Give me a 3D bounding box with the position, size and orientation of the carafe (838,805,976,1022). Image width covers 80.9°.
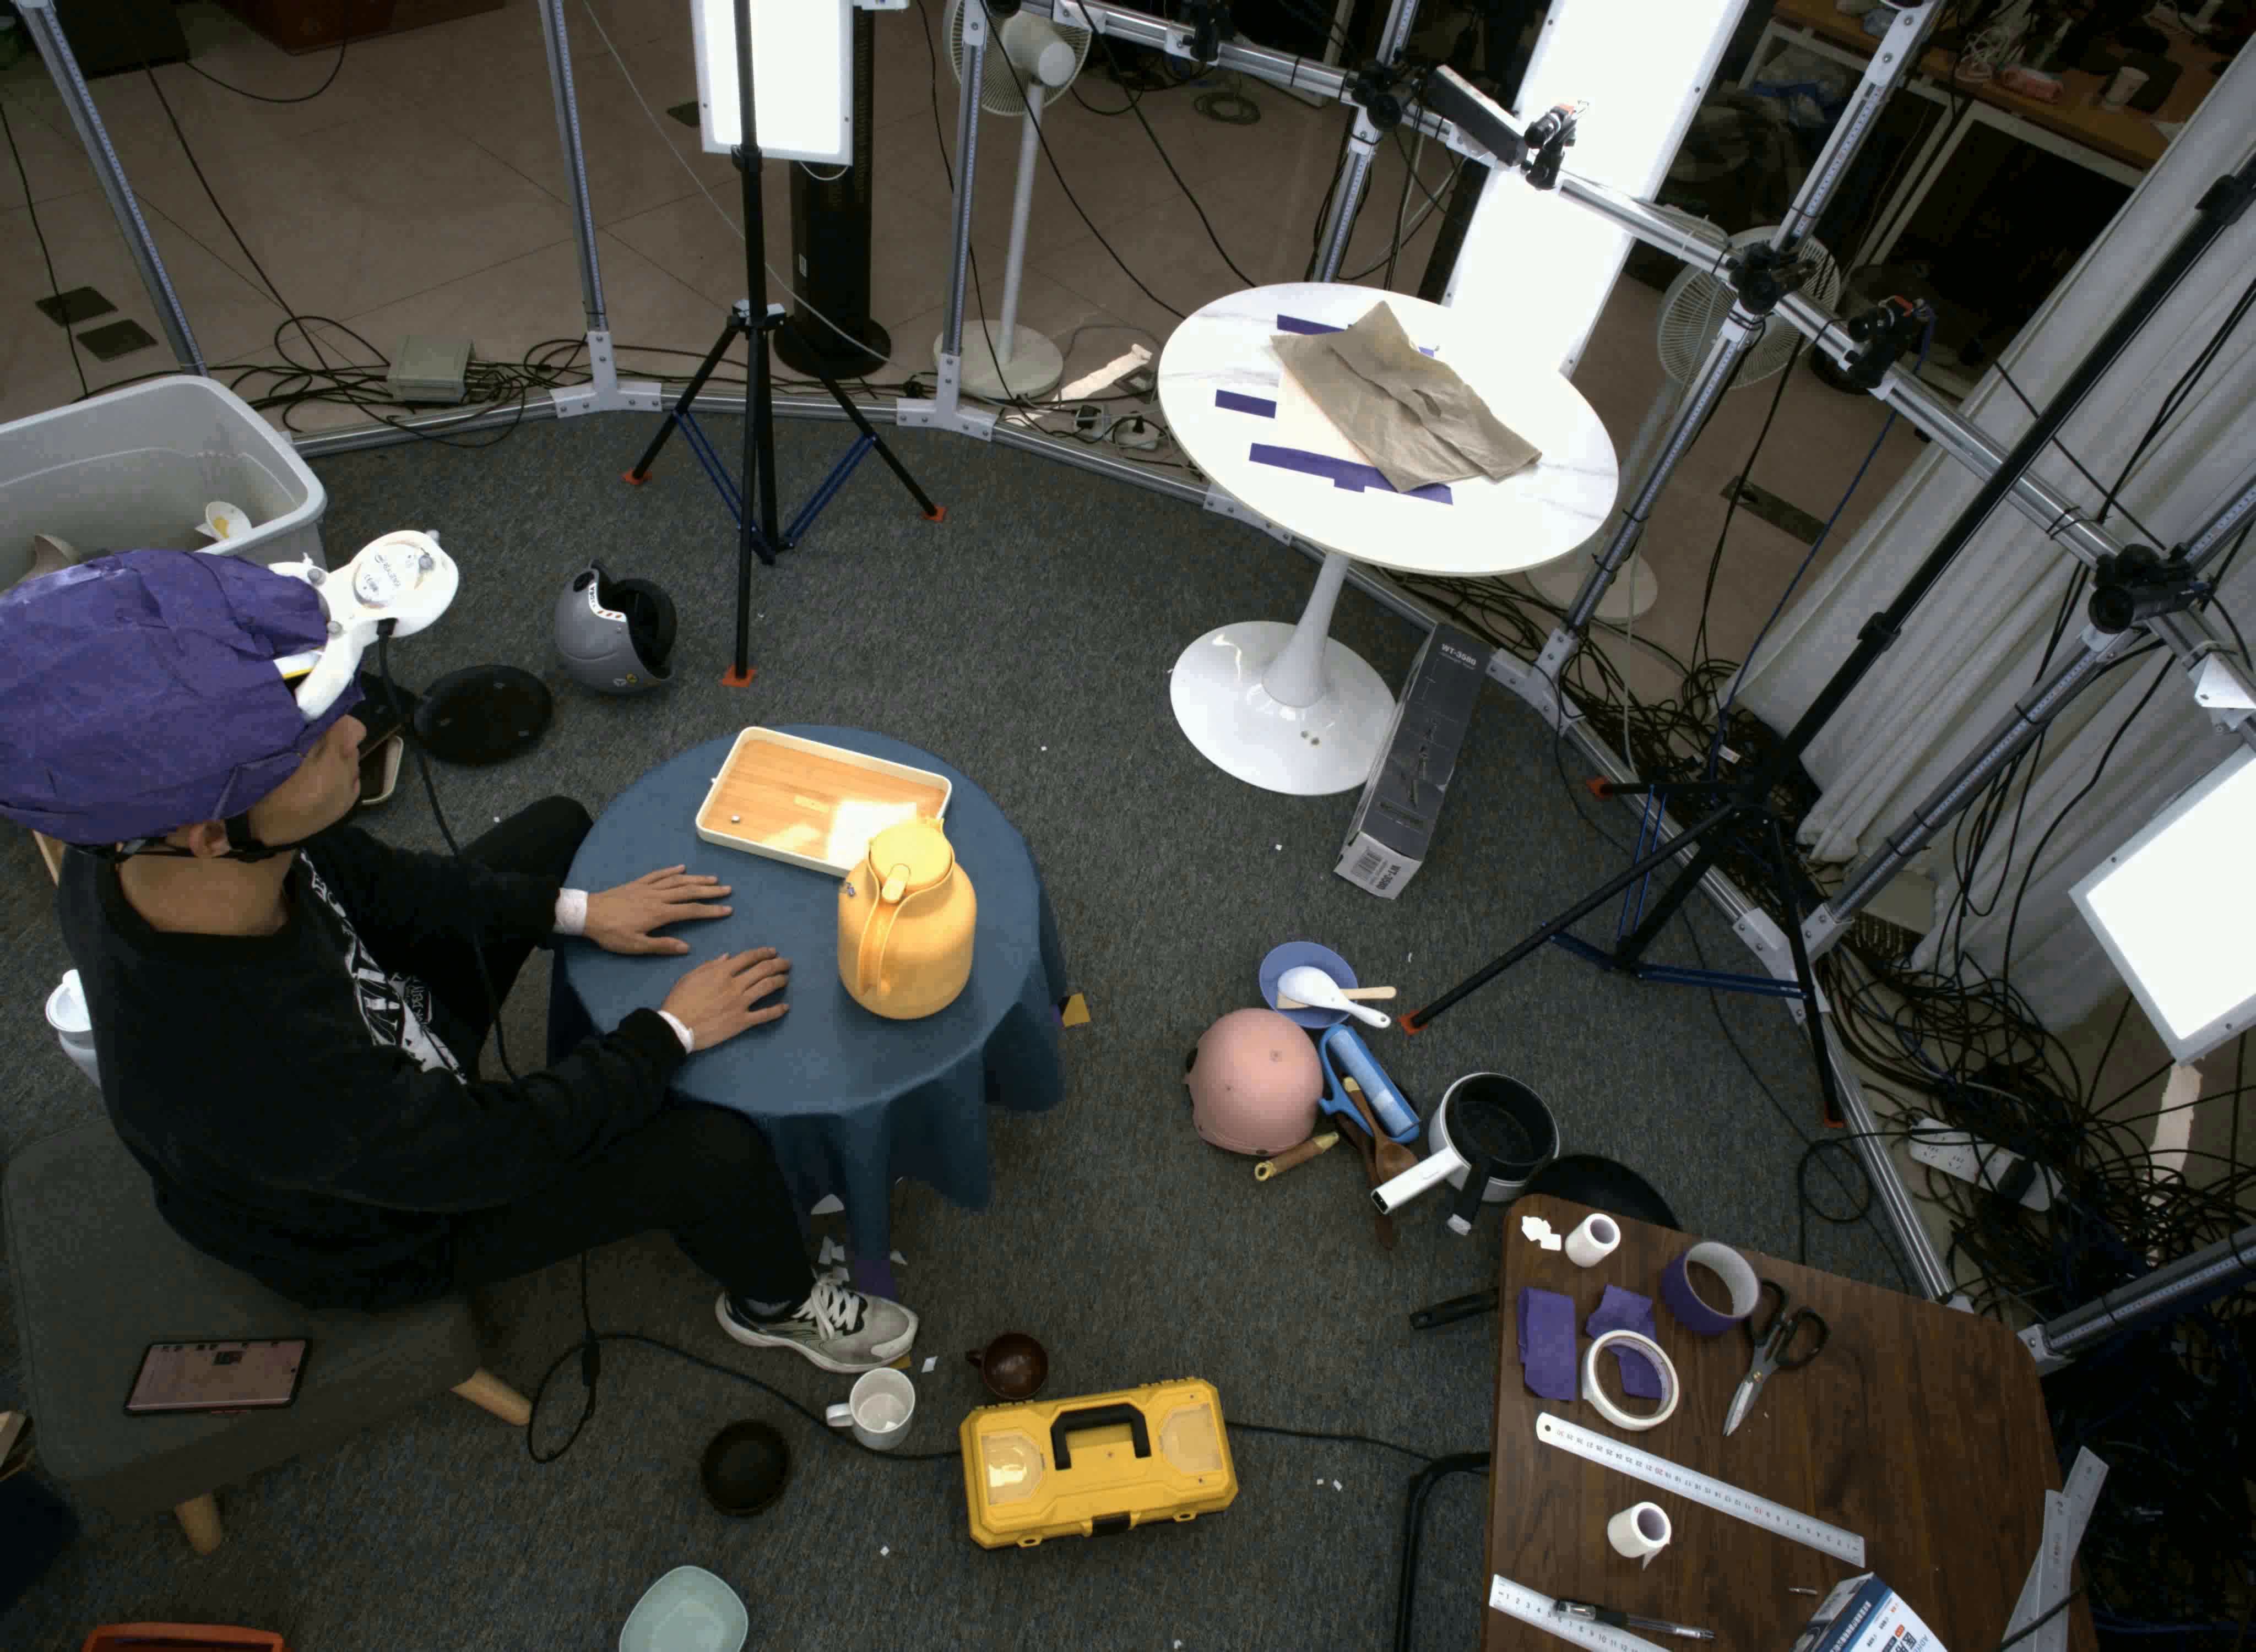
[{"bbox_3d":[-0.265,0.114,1.508,0.161,0.267,0.200,18,49,5],"label":"carafe"}]

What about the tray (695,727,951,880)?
[{"bbox_3d":[-0.402,-0.024,1.728,0.298,0.028,0.189,15,51,-3],"label":"tray"}]
